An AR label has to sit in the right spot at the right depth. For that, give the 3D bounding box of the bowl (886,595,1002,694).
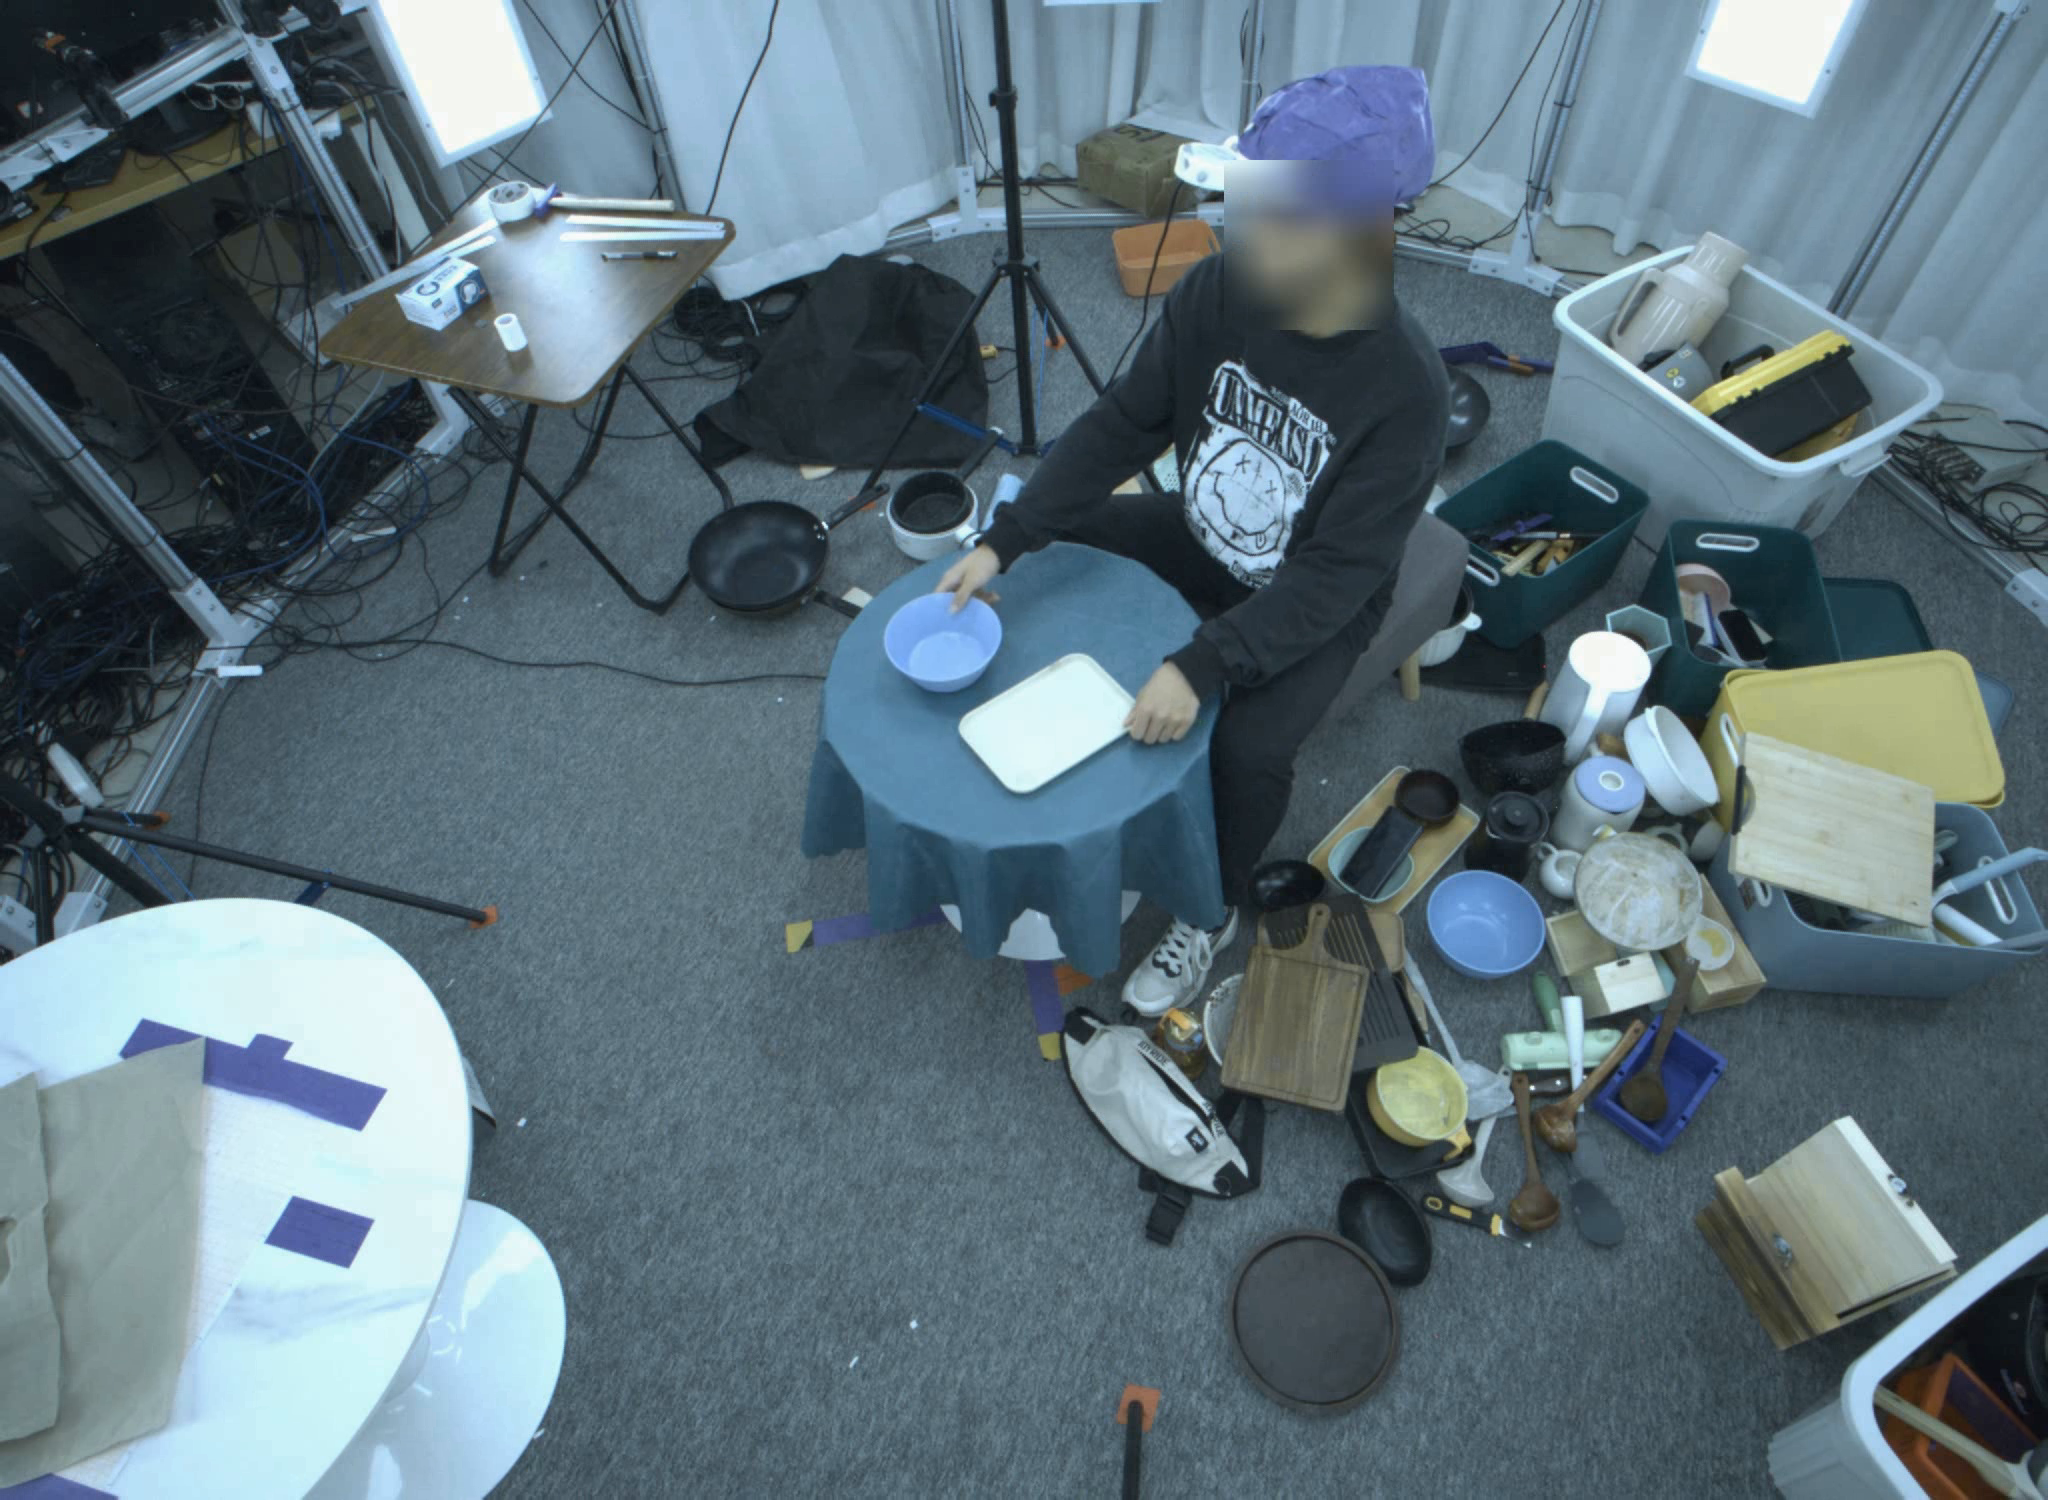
[{"bbox_3d":[-0.119,-0.150,1.863,0.176,0.071,0.174,0,55,1],"label":"bowl"}]

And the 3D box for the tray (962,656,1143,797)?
[{"bbox_3d":[0.042,-0.036,1.810,0.241,0.017,0.168,-32,60,-19],"label":"tray"}]
